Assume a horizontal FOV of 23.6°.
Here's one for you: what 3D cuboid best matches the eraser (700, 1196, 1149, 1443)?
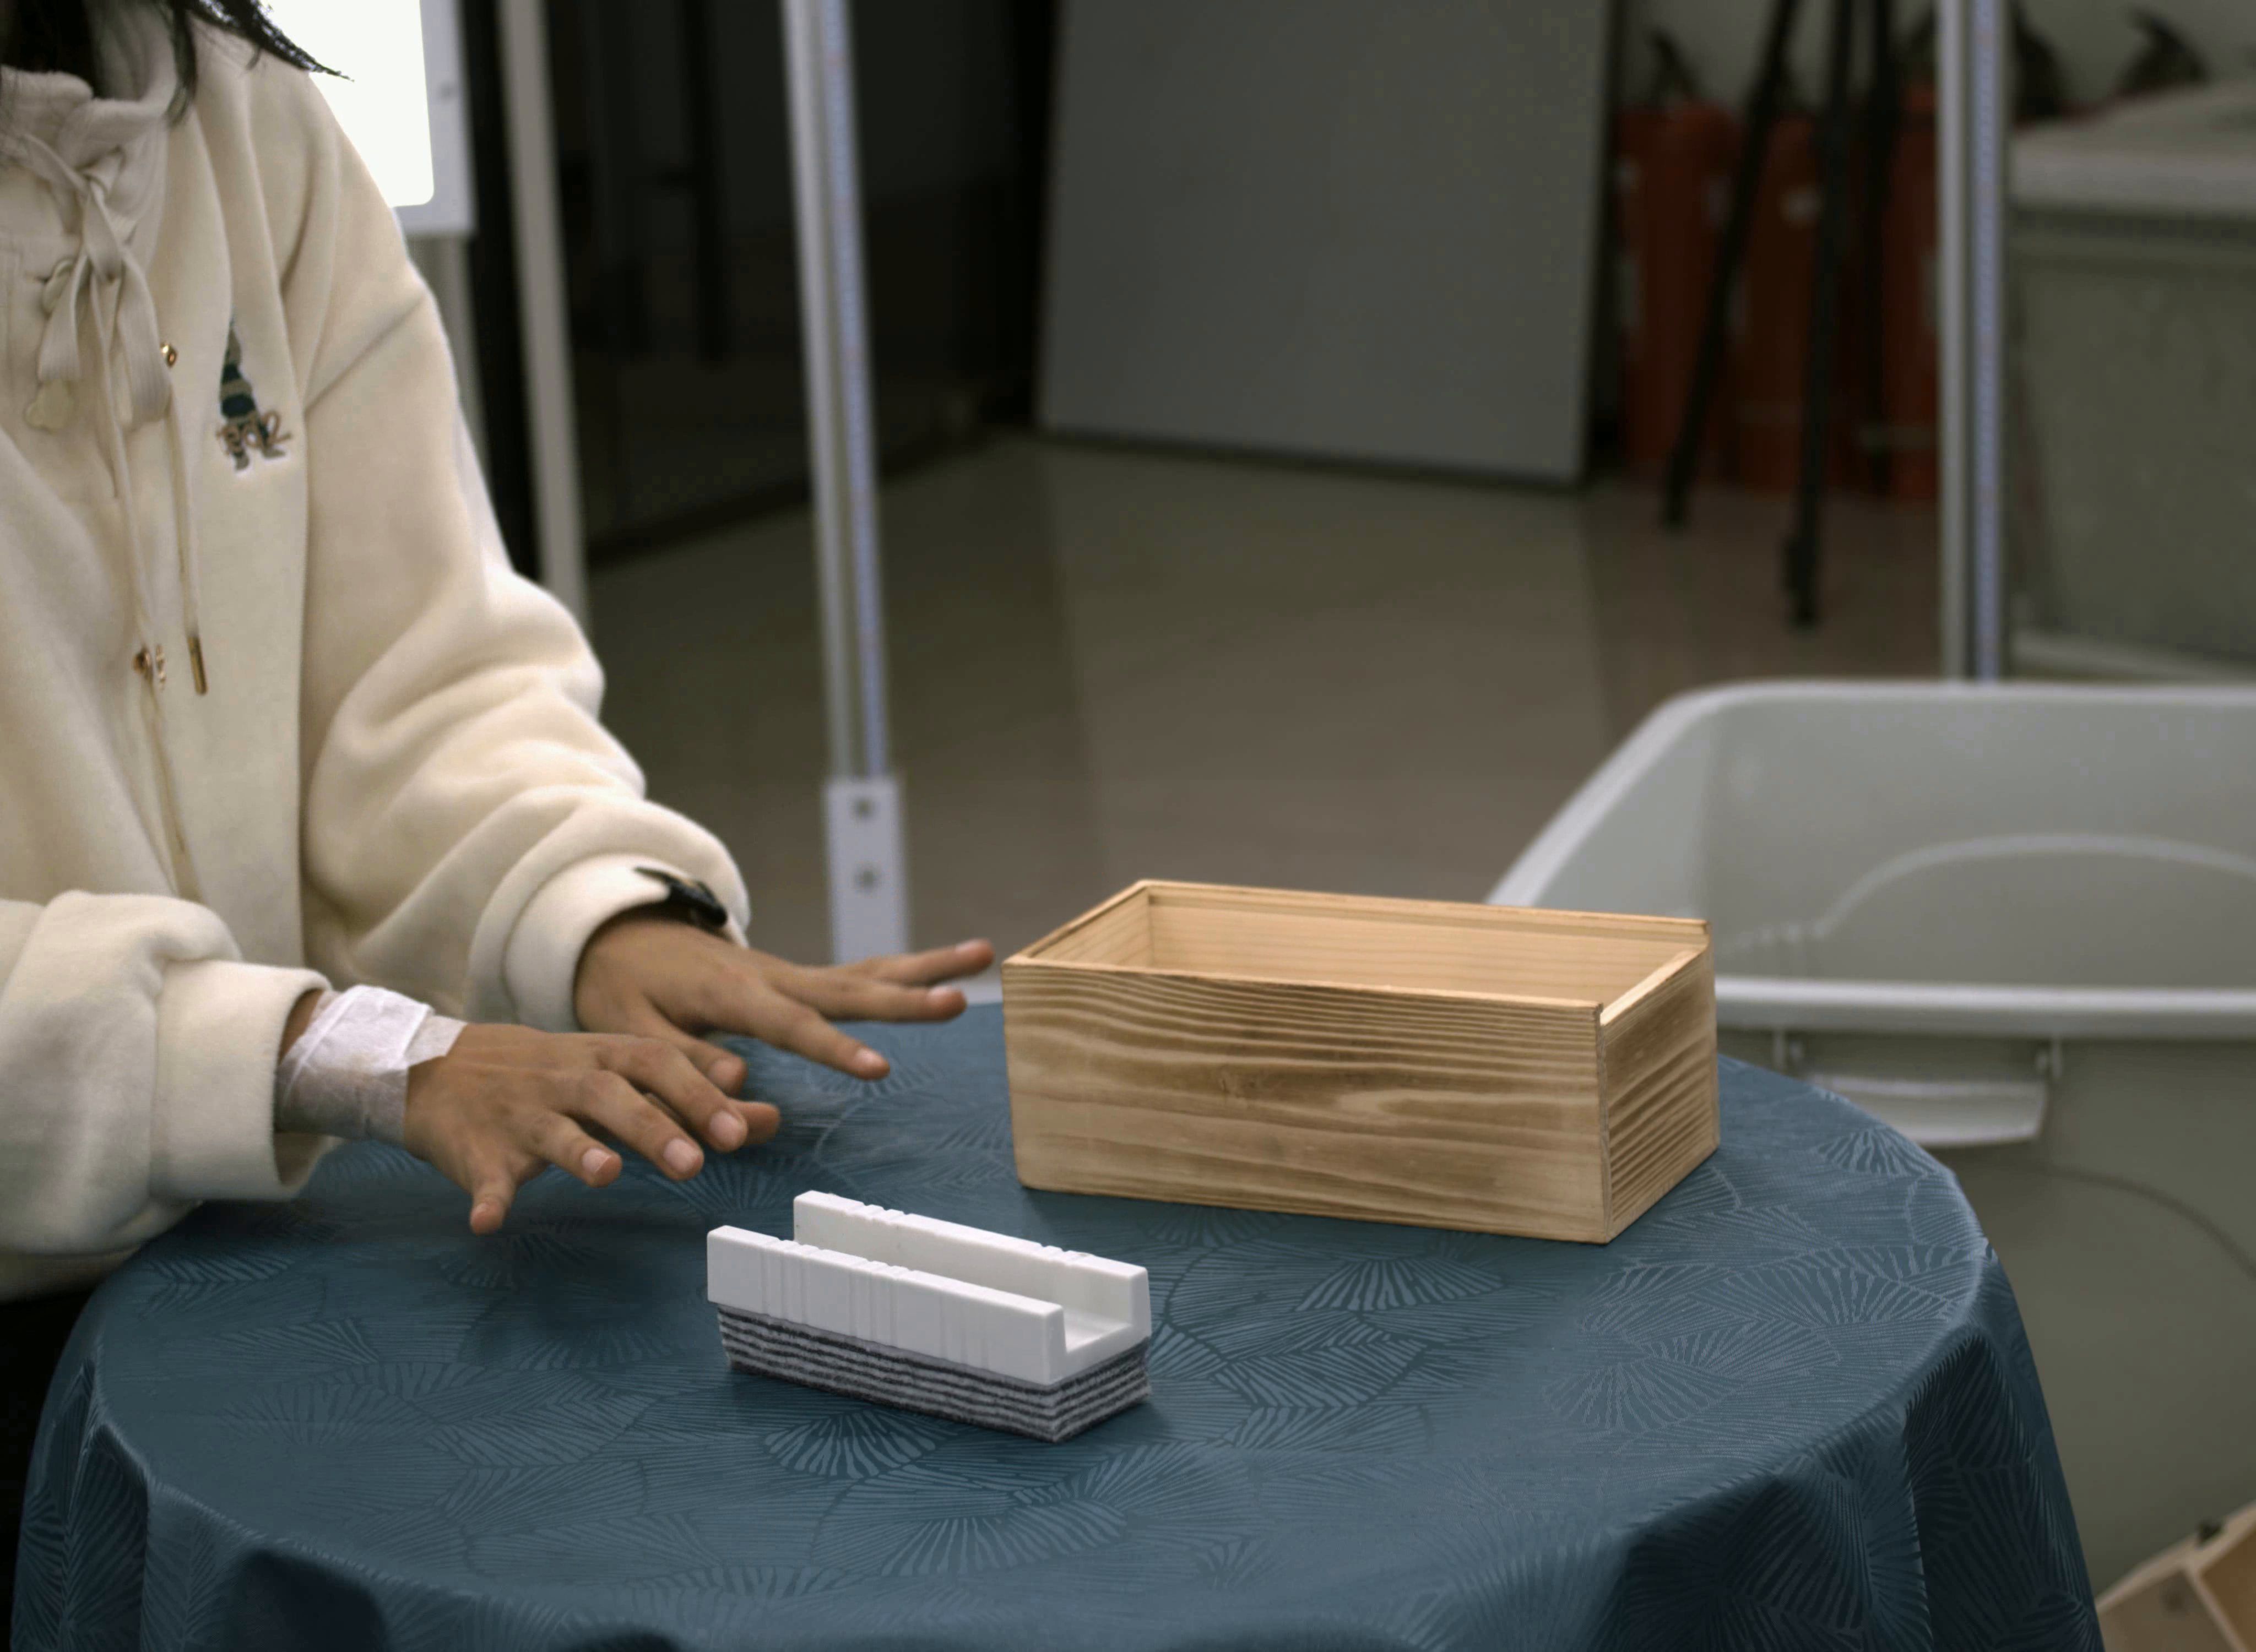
[{"bbox_3d":[-0.060,0.145,1.593,0.135,0.047,0.049,8,20,37],"label":"eraser"}]

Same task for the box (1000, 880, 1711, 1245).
[{"bbox_3d":[0.075,0.075,1.767,0.212,0.081,0.106,4,15,27],"label":"box"}]
